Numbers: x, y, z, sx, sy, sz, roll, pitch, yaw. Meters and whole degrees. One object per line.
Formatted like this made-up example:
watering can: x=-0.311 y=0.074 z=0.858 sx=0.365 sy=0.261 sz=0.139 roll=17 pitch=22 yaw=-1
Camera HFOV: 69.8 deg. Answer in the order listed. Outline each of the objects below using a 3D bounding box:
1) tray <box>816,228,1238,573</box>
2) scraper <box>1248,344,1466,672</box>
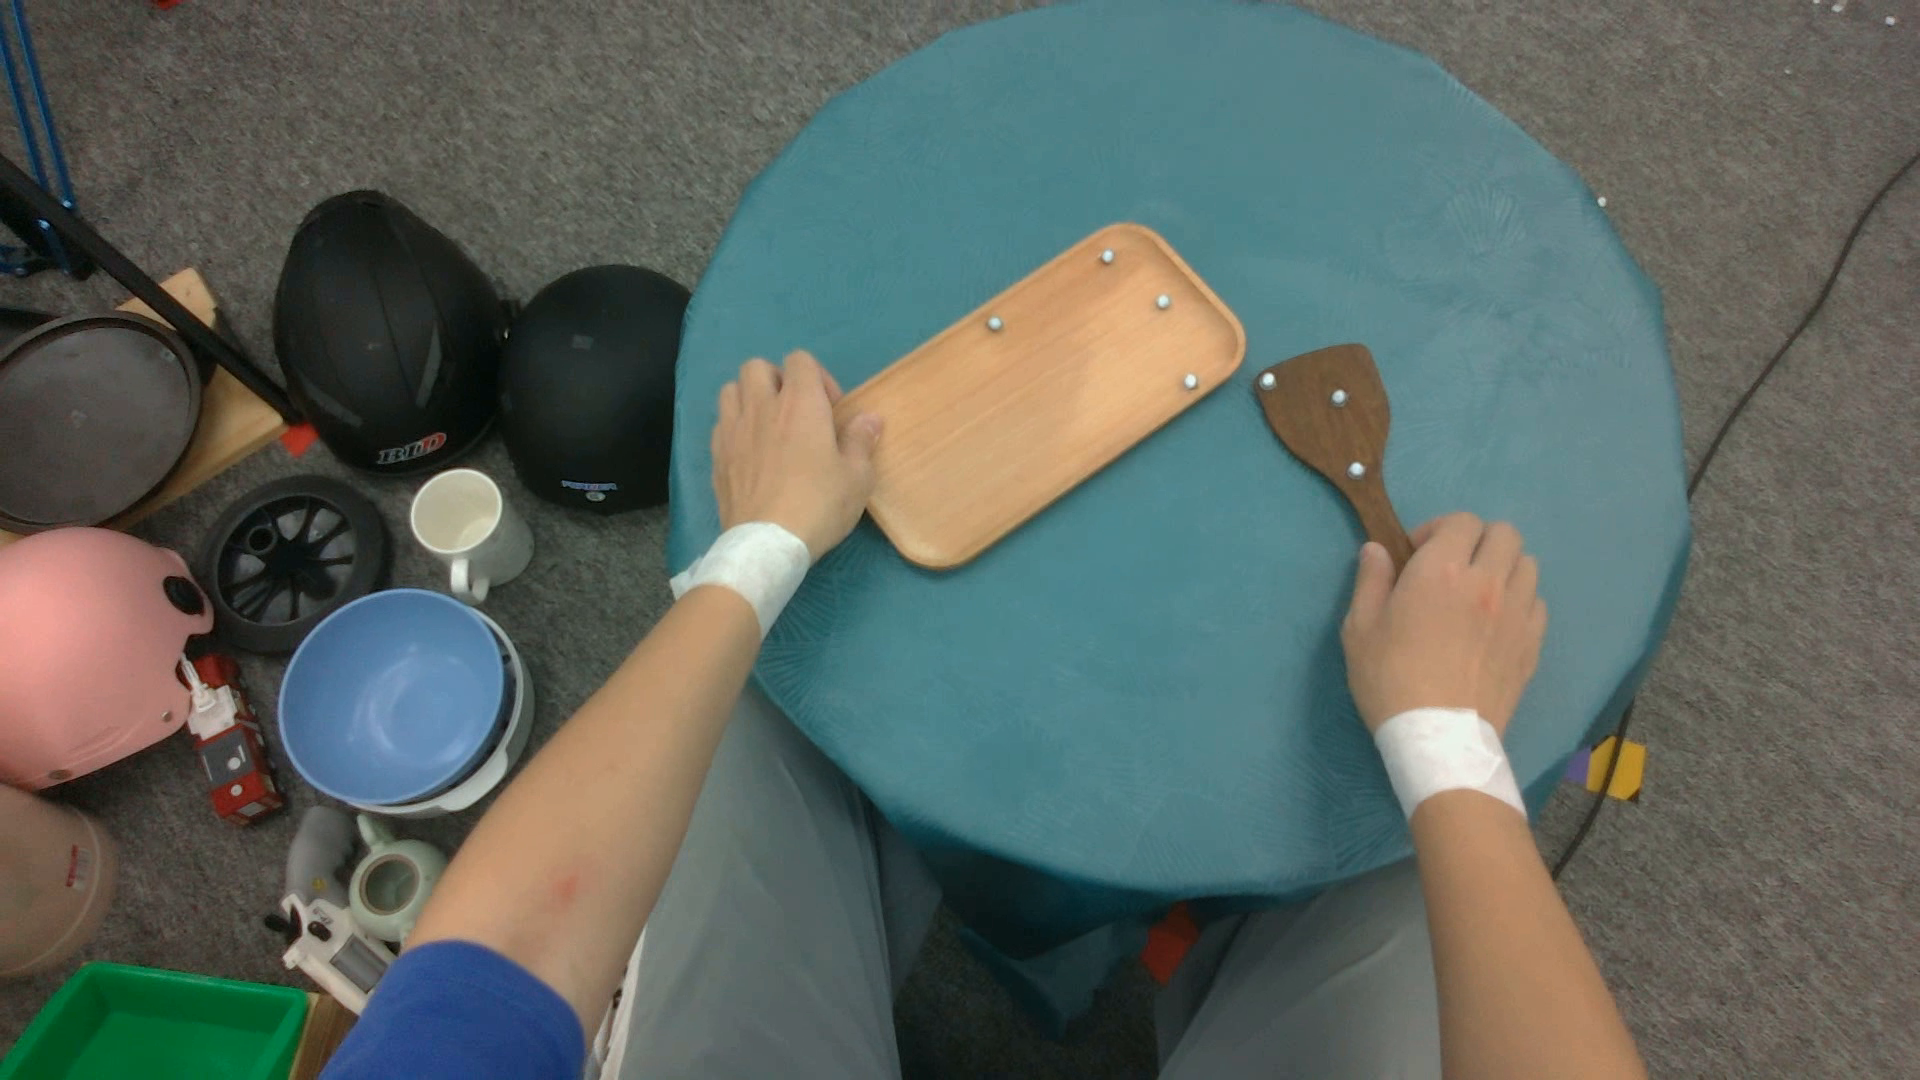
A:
tray: x=0.042 y=-0.087 z=0.828 sx=0.251 sy=0.023 sz=0.131 roll=-35 pitch=69 yaw=-12
scraper: x=0.235 y=-0.021 z=0.794 sx=0.076 sy=0.011 sz=0.212 roll=-17 pitch=64 yaw=-1
